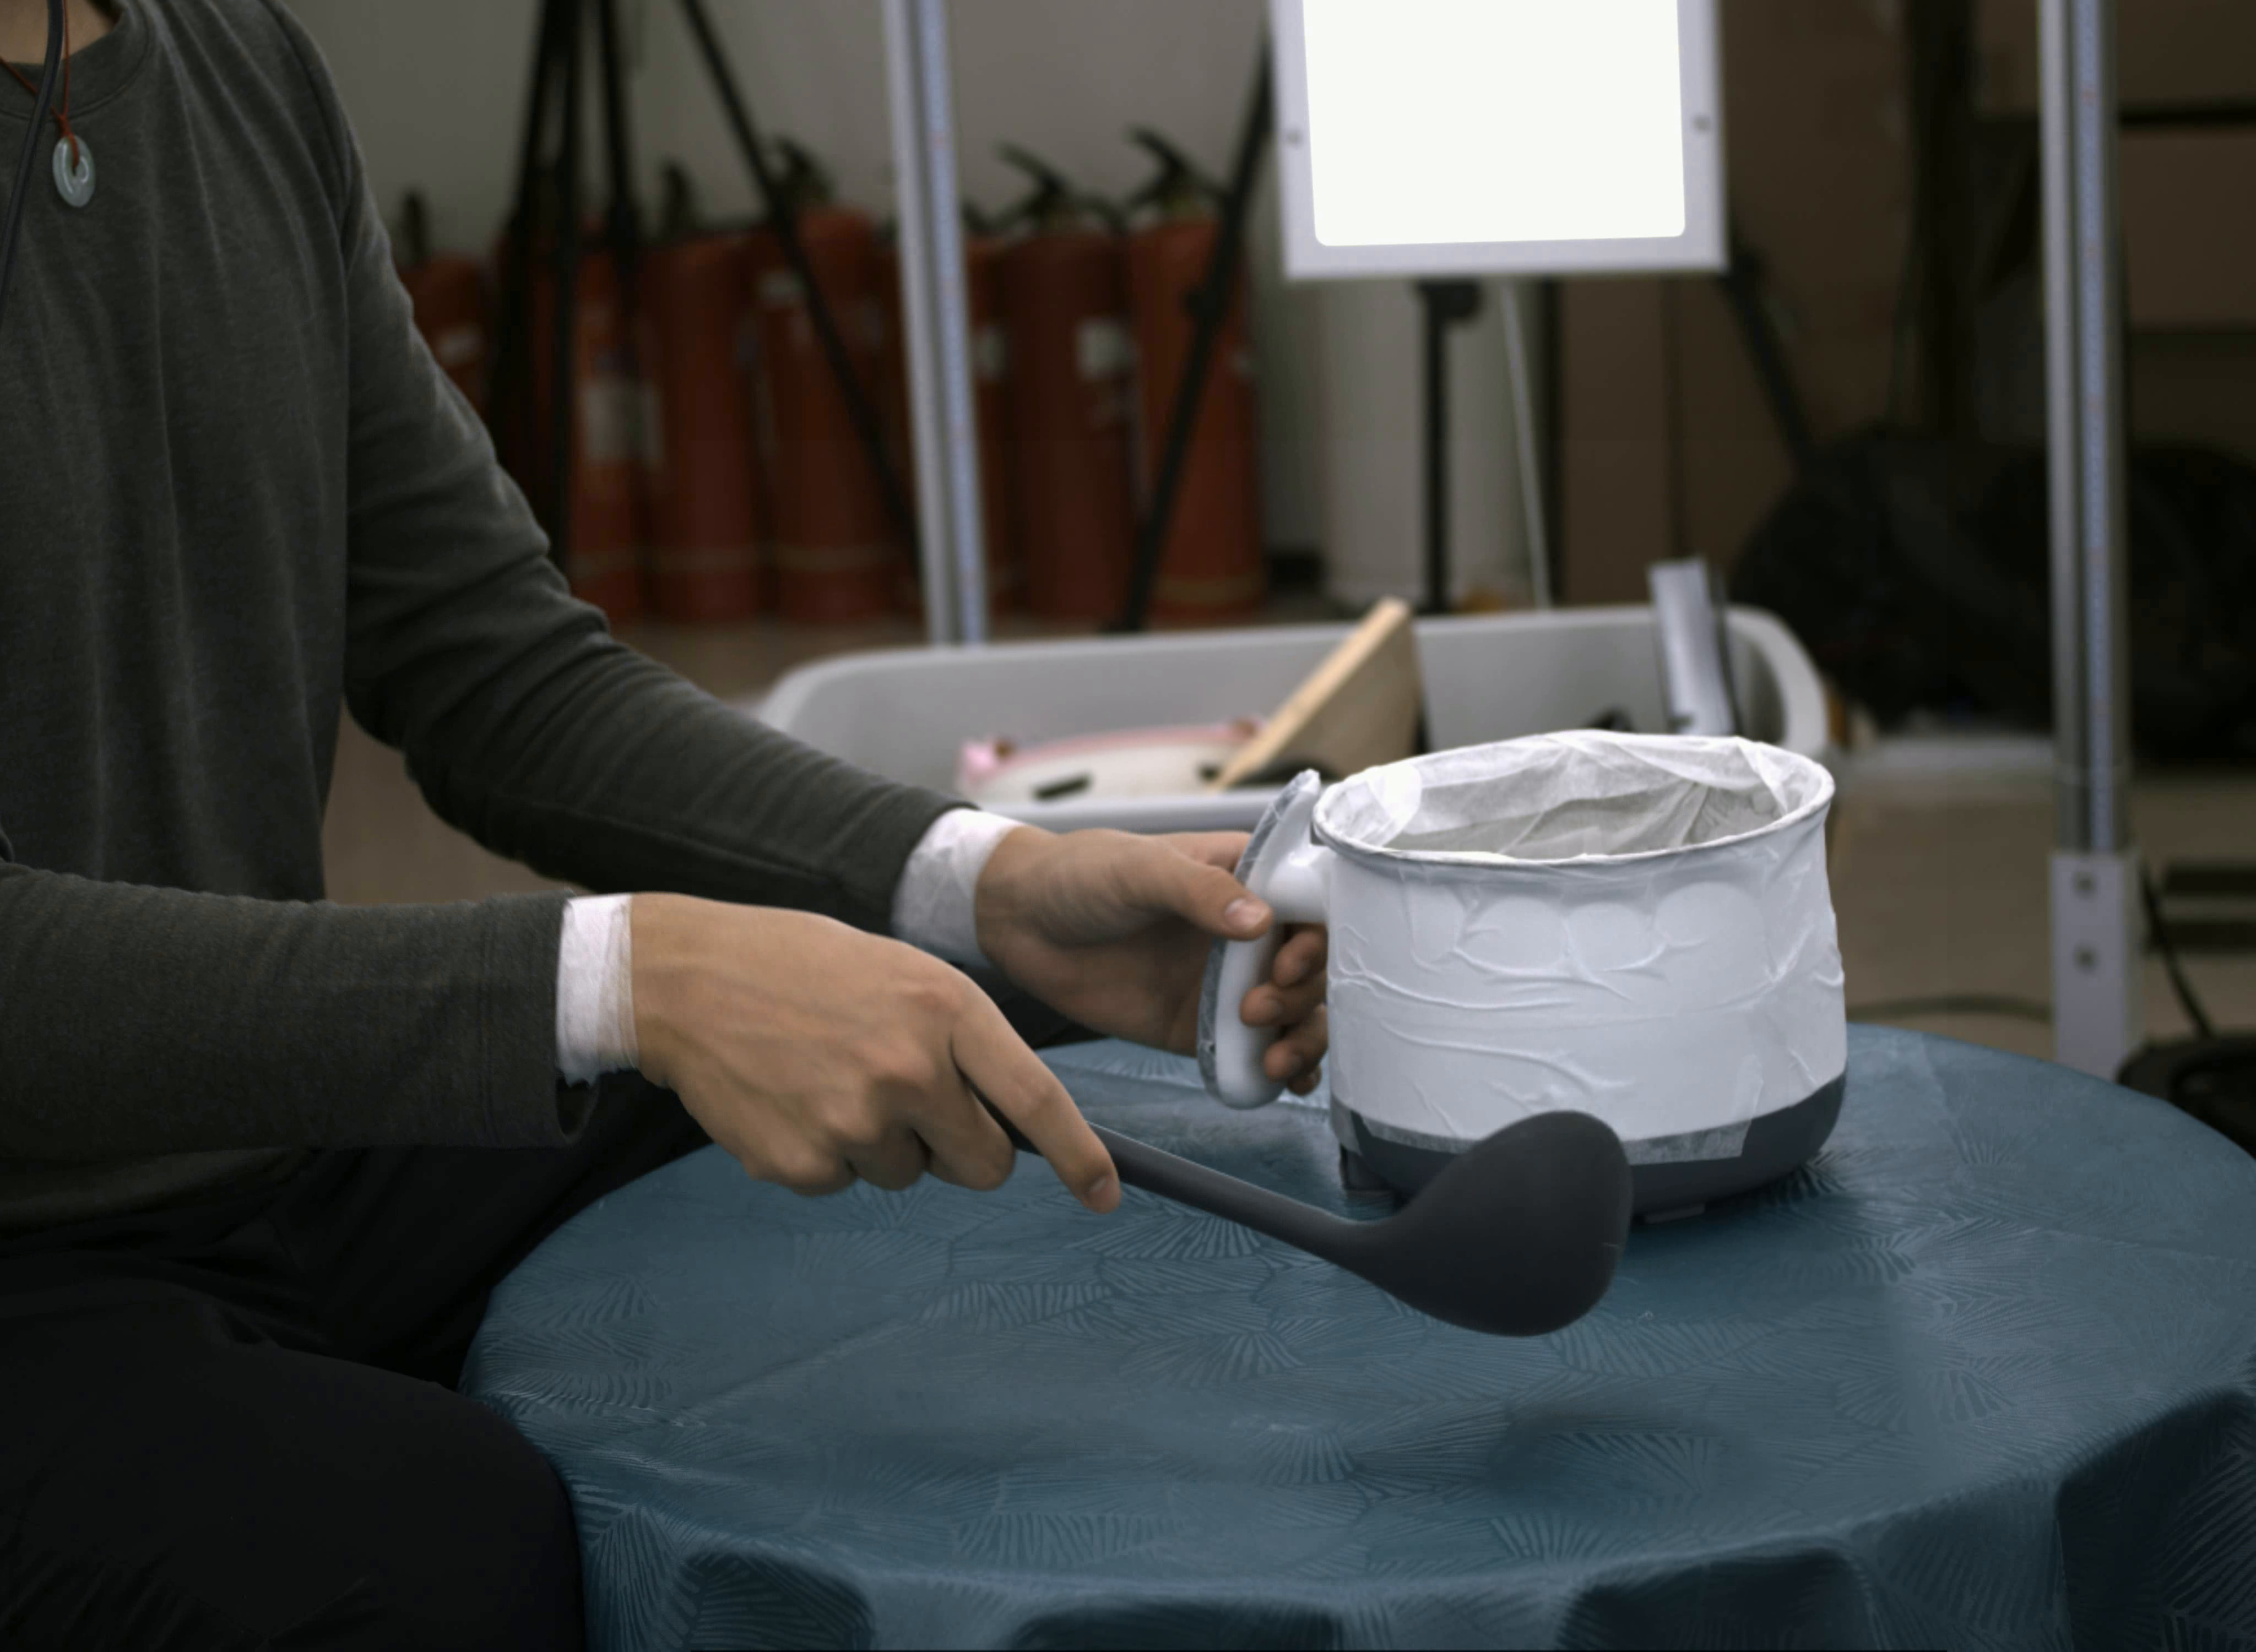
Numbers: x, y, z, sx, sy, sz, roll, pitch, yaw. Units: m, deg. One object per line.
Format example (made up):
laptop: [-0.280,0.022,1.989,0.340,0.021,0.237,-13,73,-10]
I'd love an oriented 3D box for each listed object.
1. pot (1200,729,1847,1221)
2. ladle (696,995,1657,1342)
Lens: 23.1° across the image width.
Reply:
pot: [0.131,0.048,1.881,0.238,0.137,0.175,3,15,27]
ladle: [0.012,0.087,1.685,0.319,0.086,0.063,17,46,26]
